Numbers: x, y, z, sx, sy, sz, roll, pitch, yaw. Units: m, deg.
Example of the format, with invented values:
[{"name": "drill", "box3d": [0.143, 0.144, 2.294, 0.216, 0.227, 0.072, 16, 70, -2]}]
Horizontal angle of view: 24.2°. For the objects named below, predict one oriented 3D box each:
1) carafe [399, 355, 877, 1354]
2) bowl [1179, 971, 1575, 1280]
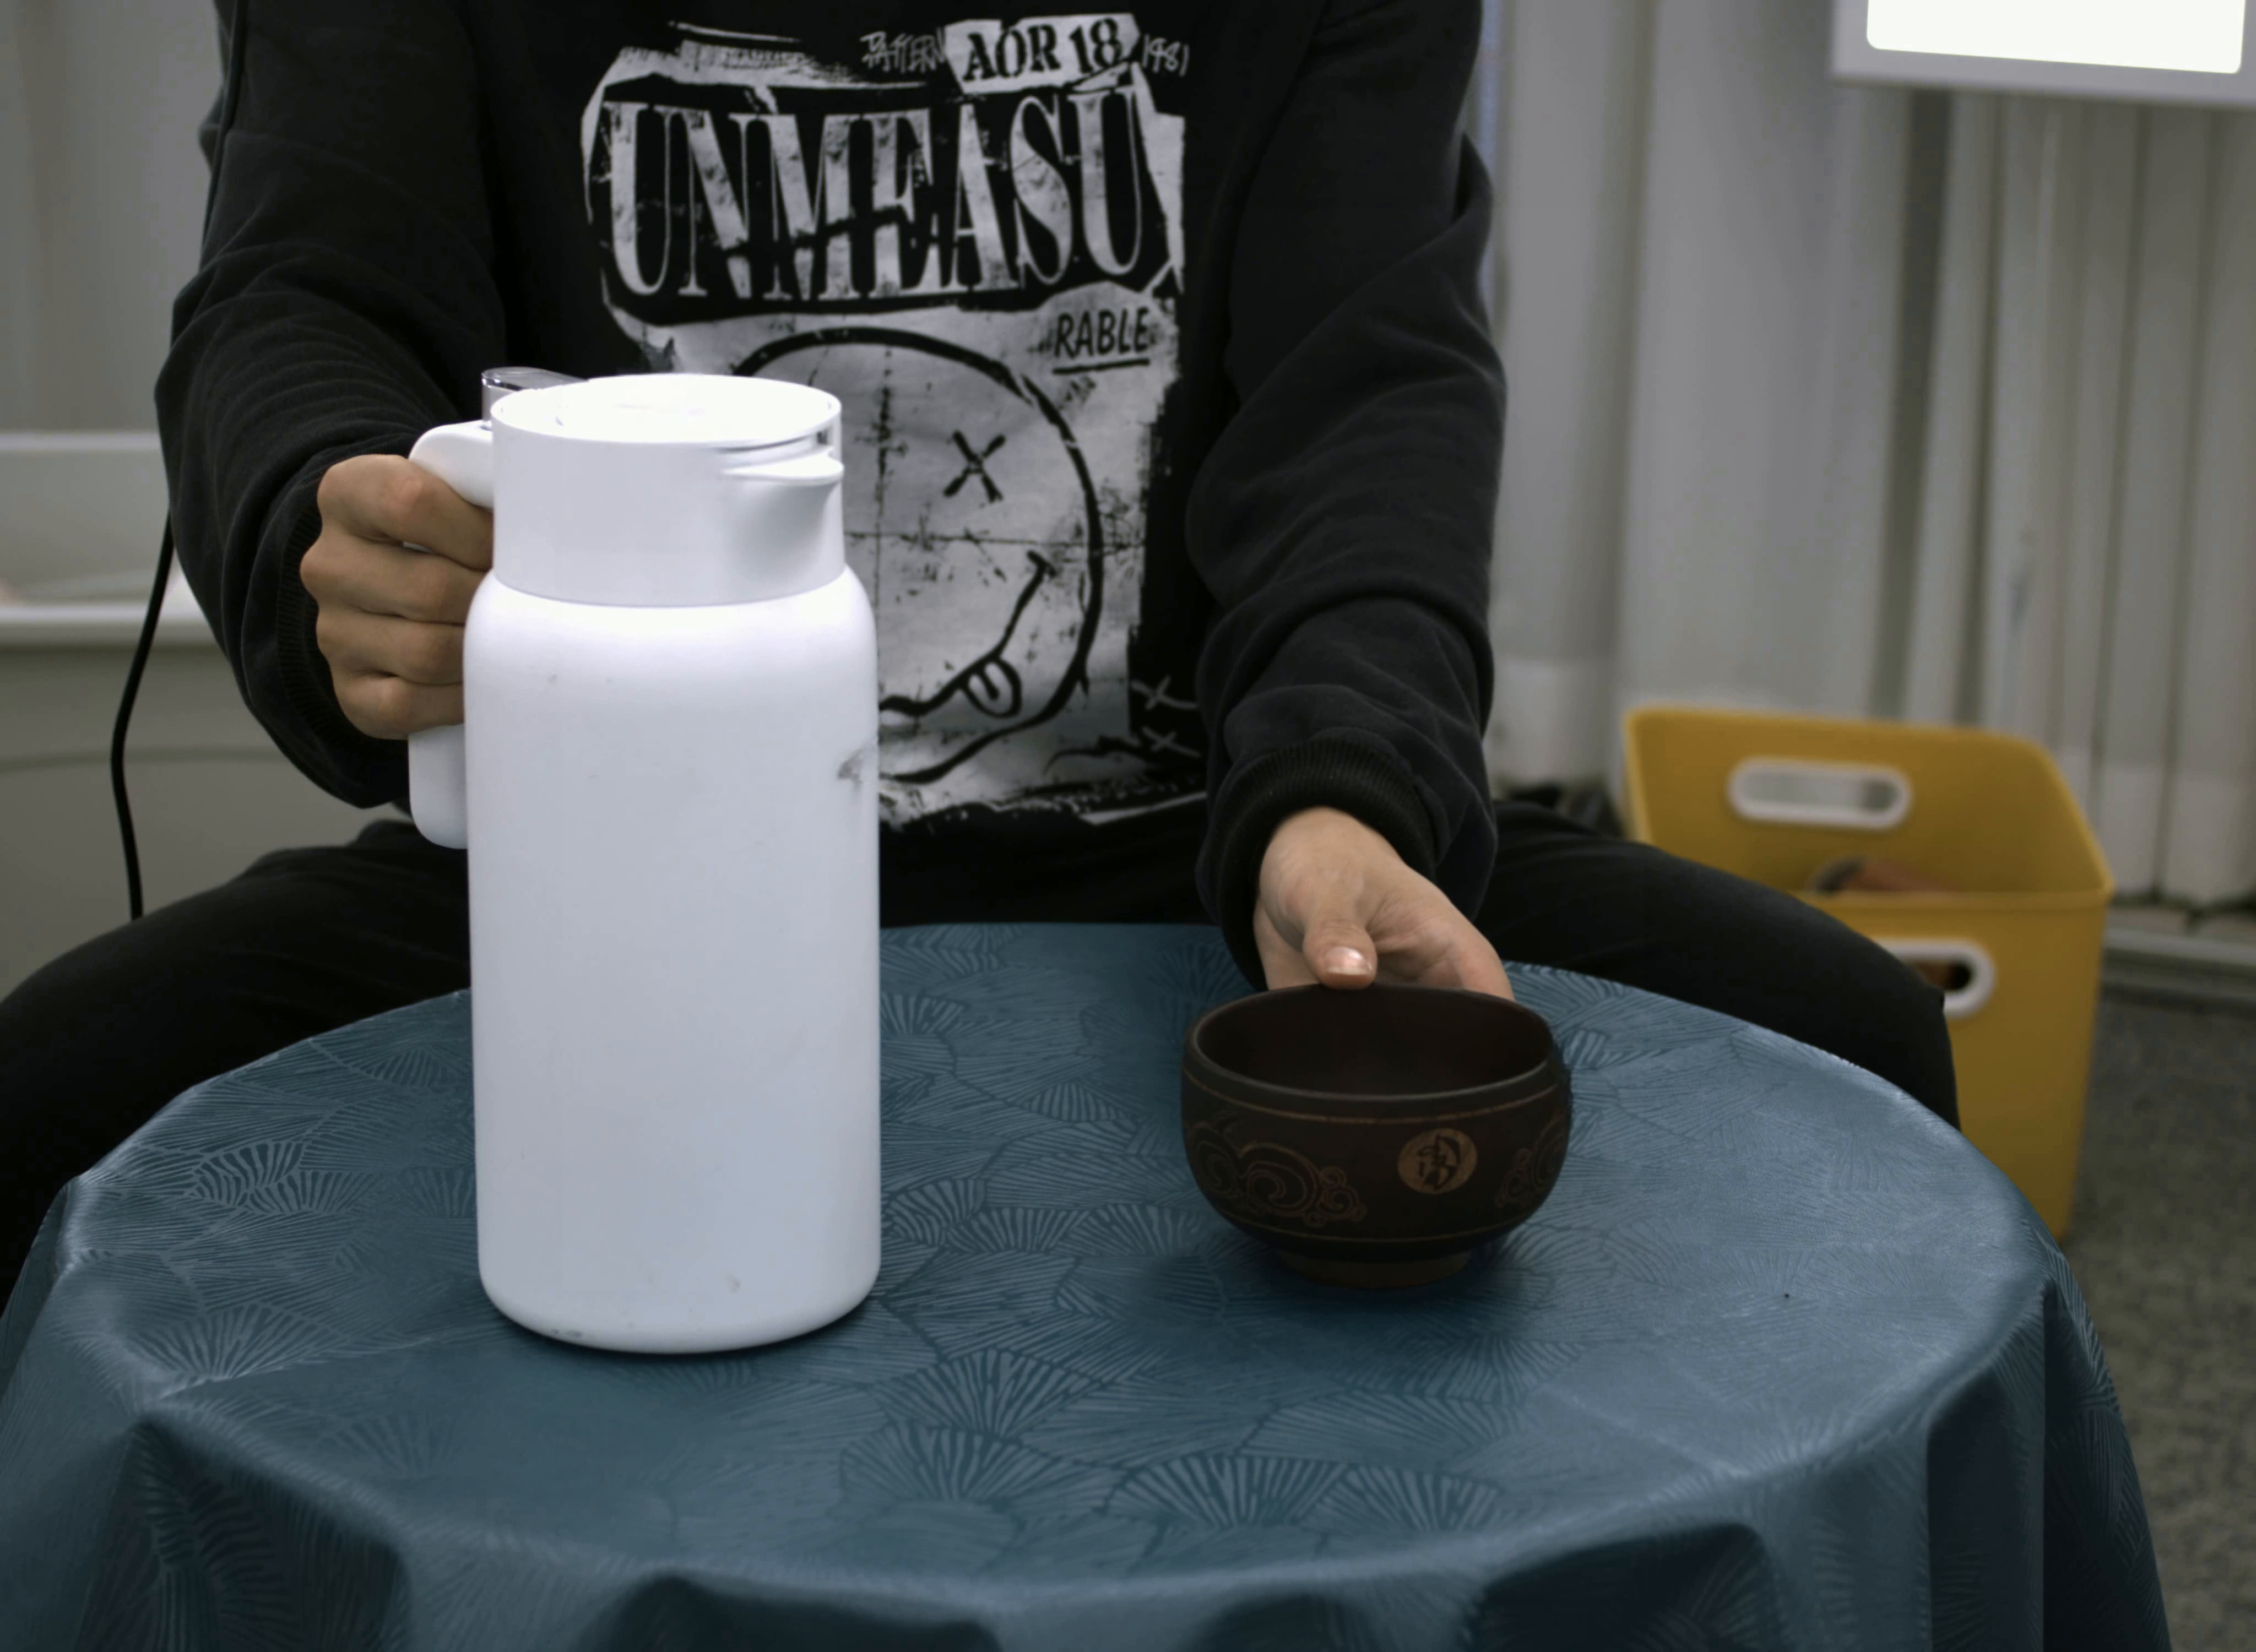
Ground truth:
[{"name": "carafe", "box3d": [-0.143, 0.005, 1.504, 0.170, 0.271, 0.124, 15, 23, 41]}, {"name": "bowl", "box3d": [0.073, 0.092, 1.558, 0.117, 0.070, 0.117, 0, 16, 1]}]
